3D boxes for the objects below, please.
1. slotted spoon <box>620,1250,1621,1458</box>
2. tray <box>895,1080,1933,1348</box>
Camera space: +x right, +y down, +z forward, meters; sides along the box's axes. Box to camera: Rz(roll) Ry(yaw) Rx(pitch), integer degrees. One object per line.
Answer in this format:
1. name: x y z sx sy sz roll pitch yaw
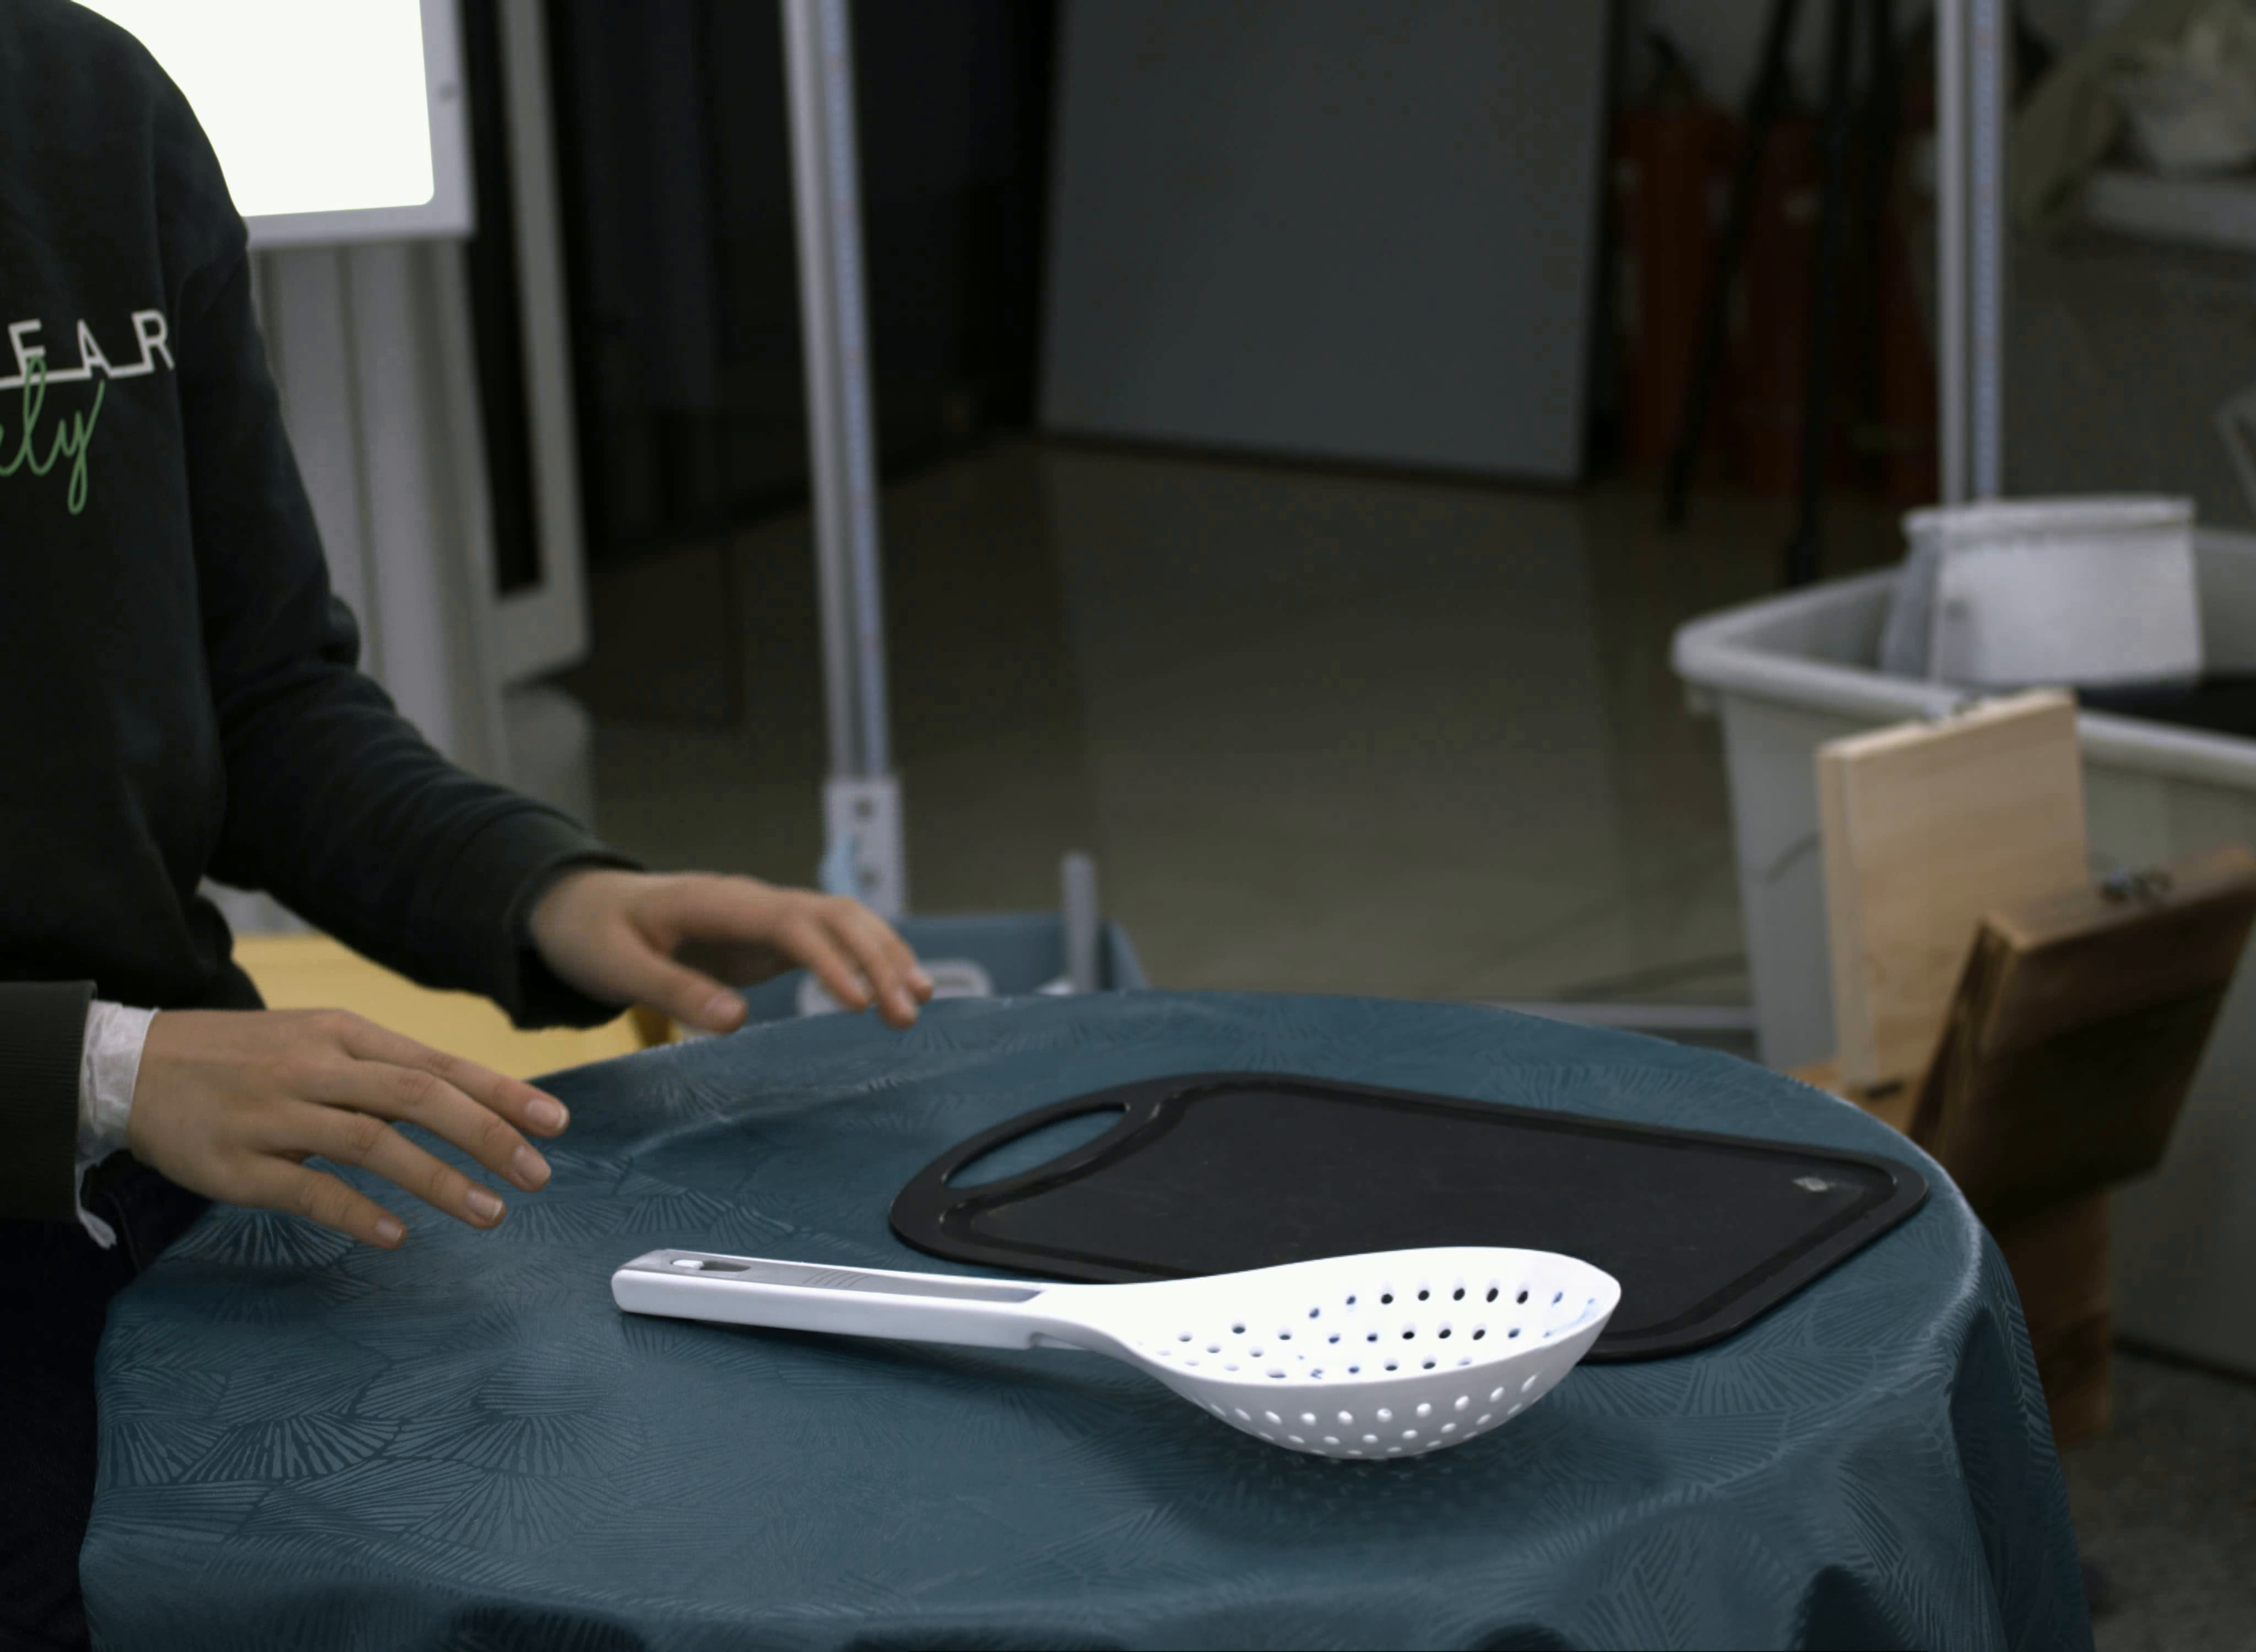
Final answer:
1. slotted spoon: -0.013 0.144 1.586 0.352 0.046 0.133 5 14 36
2. tray: 0.083 0.120 1.736 0.327 0.010 0.207 5 16 35
